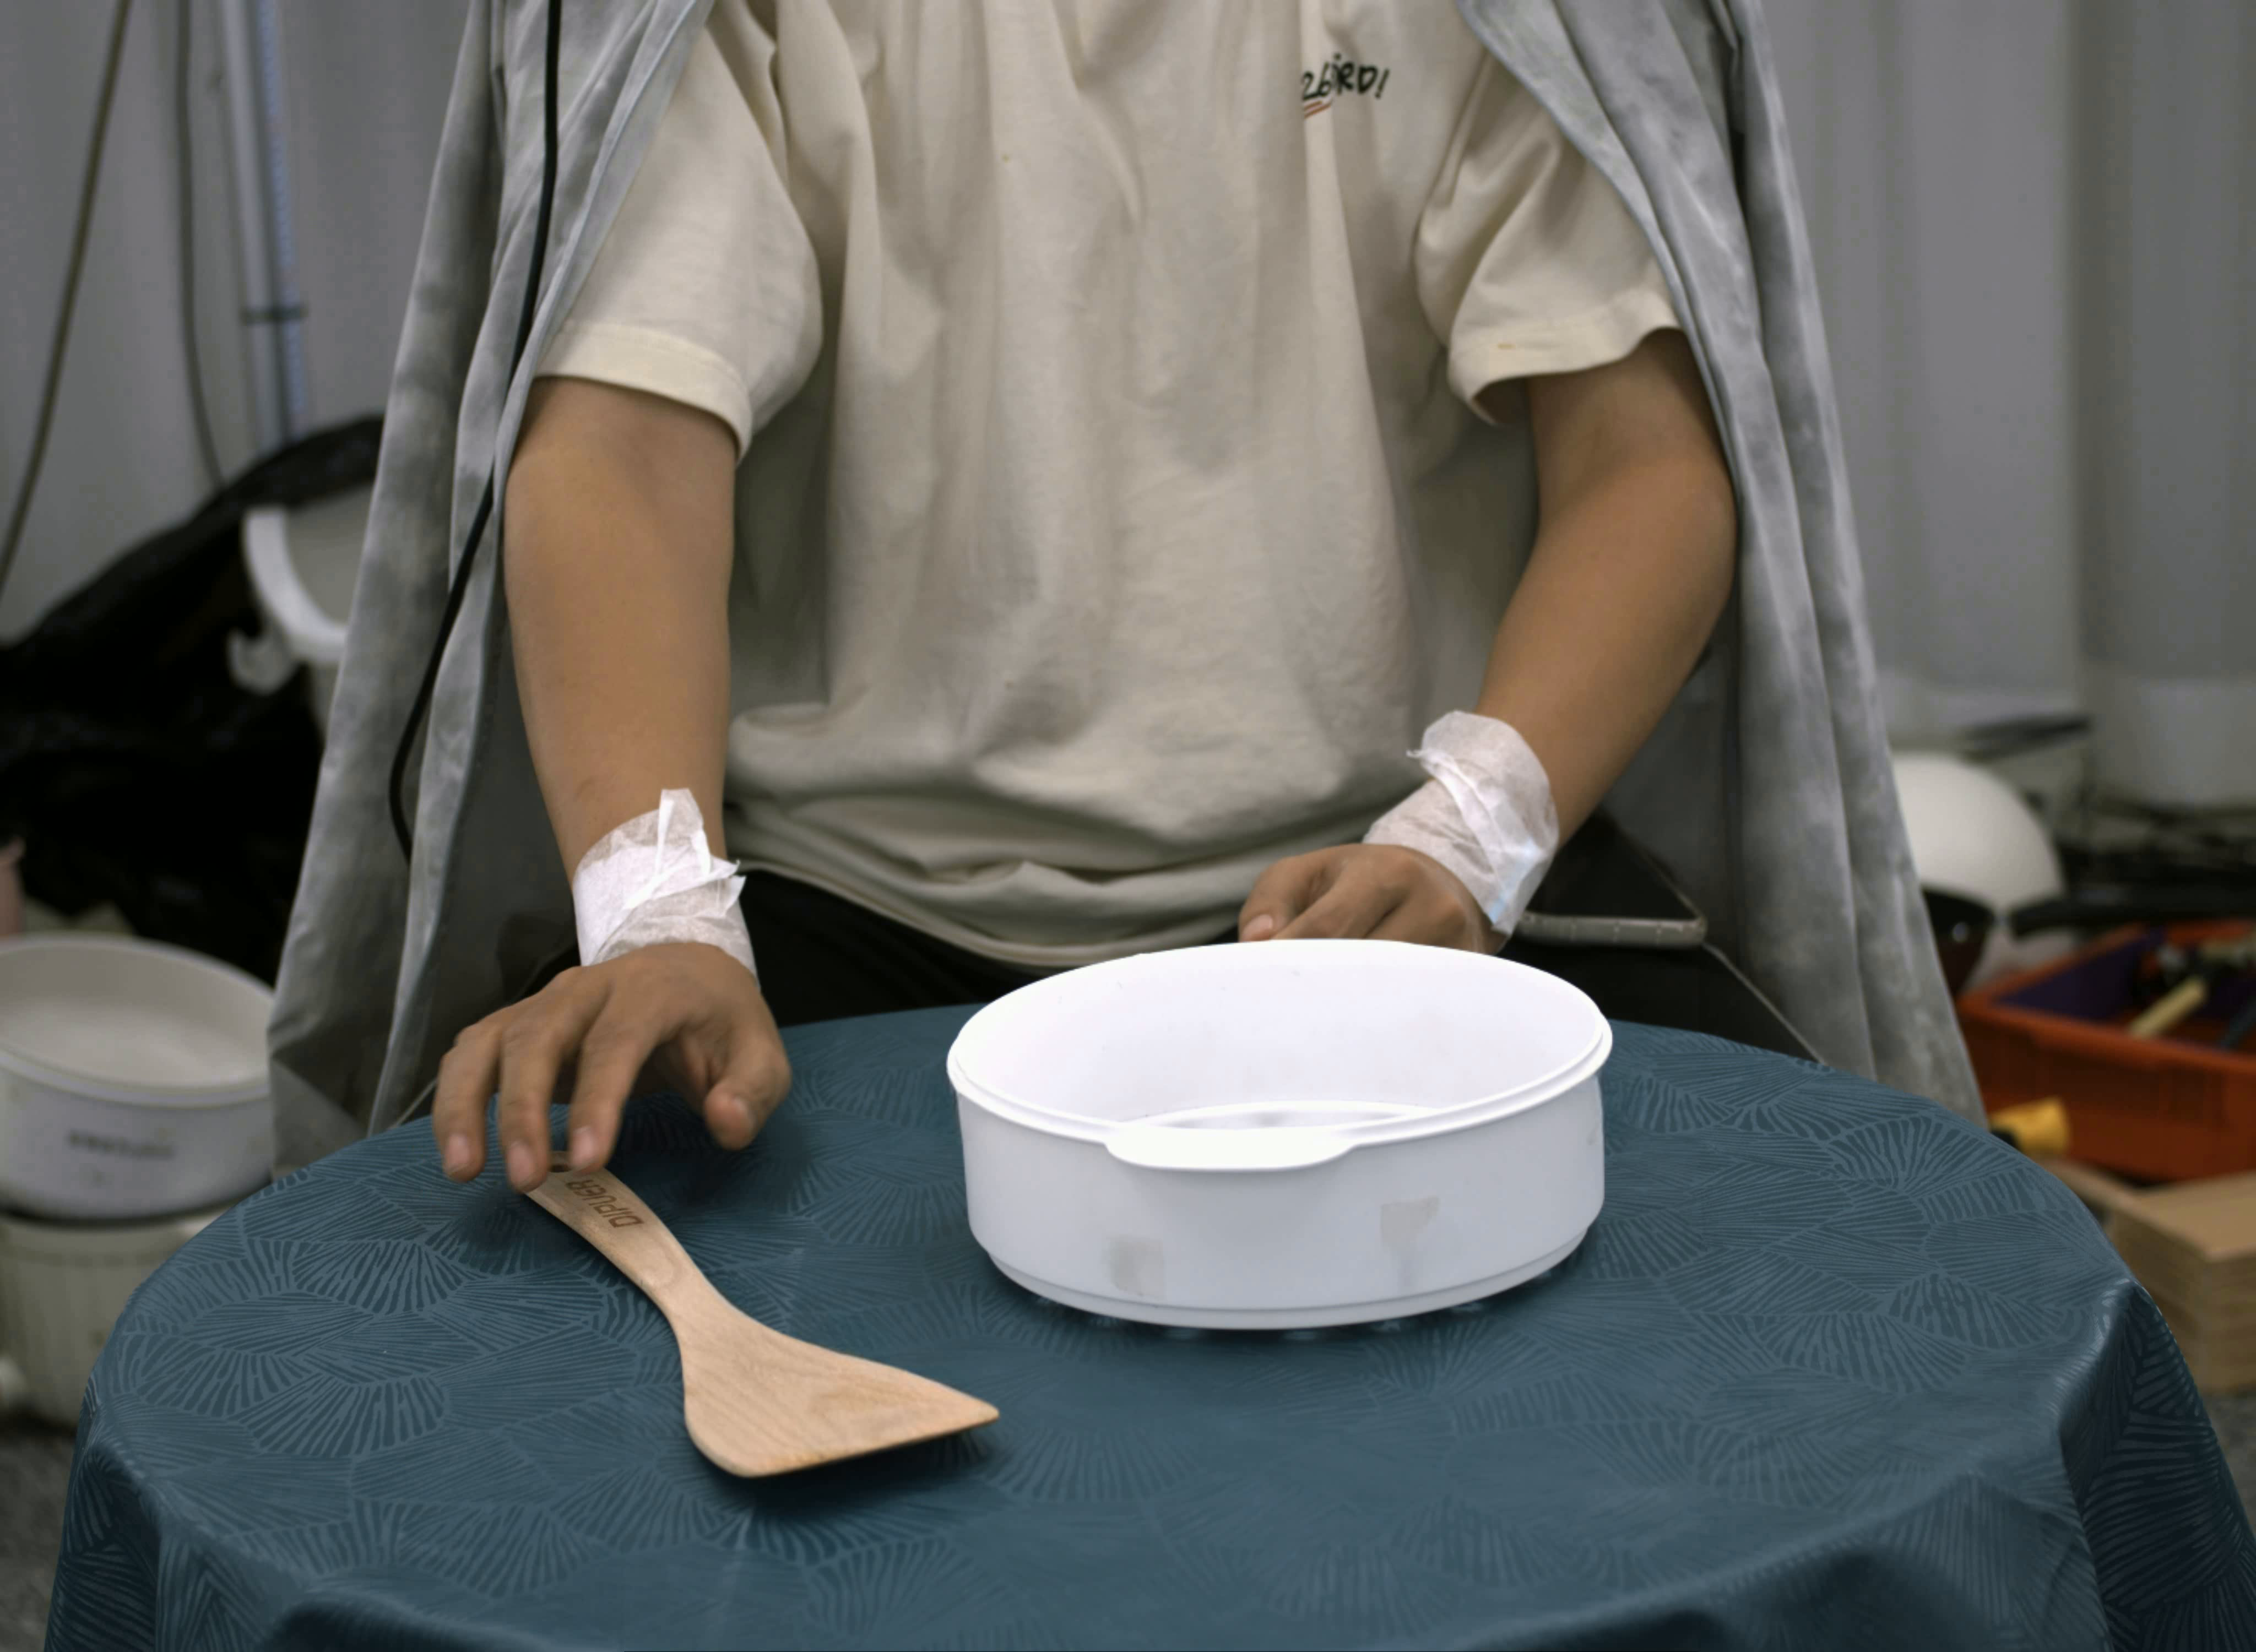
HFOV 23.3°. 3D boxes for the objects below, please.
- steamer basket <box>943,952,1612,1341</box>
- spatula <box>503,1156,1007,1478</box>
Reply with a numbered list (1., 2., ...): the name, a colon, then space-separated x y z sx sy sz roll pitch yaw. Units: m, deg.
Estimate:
1. steamer basket: 0.045 0.096 1.654 0.201 0.069 0.231 1 15 11
2. spatula: -0.126 0.140 1.615 0.079 0.016 0.330 -8 15 -22
